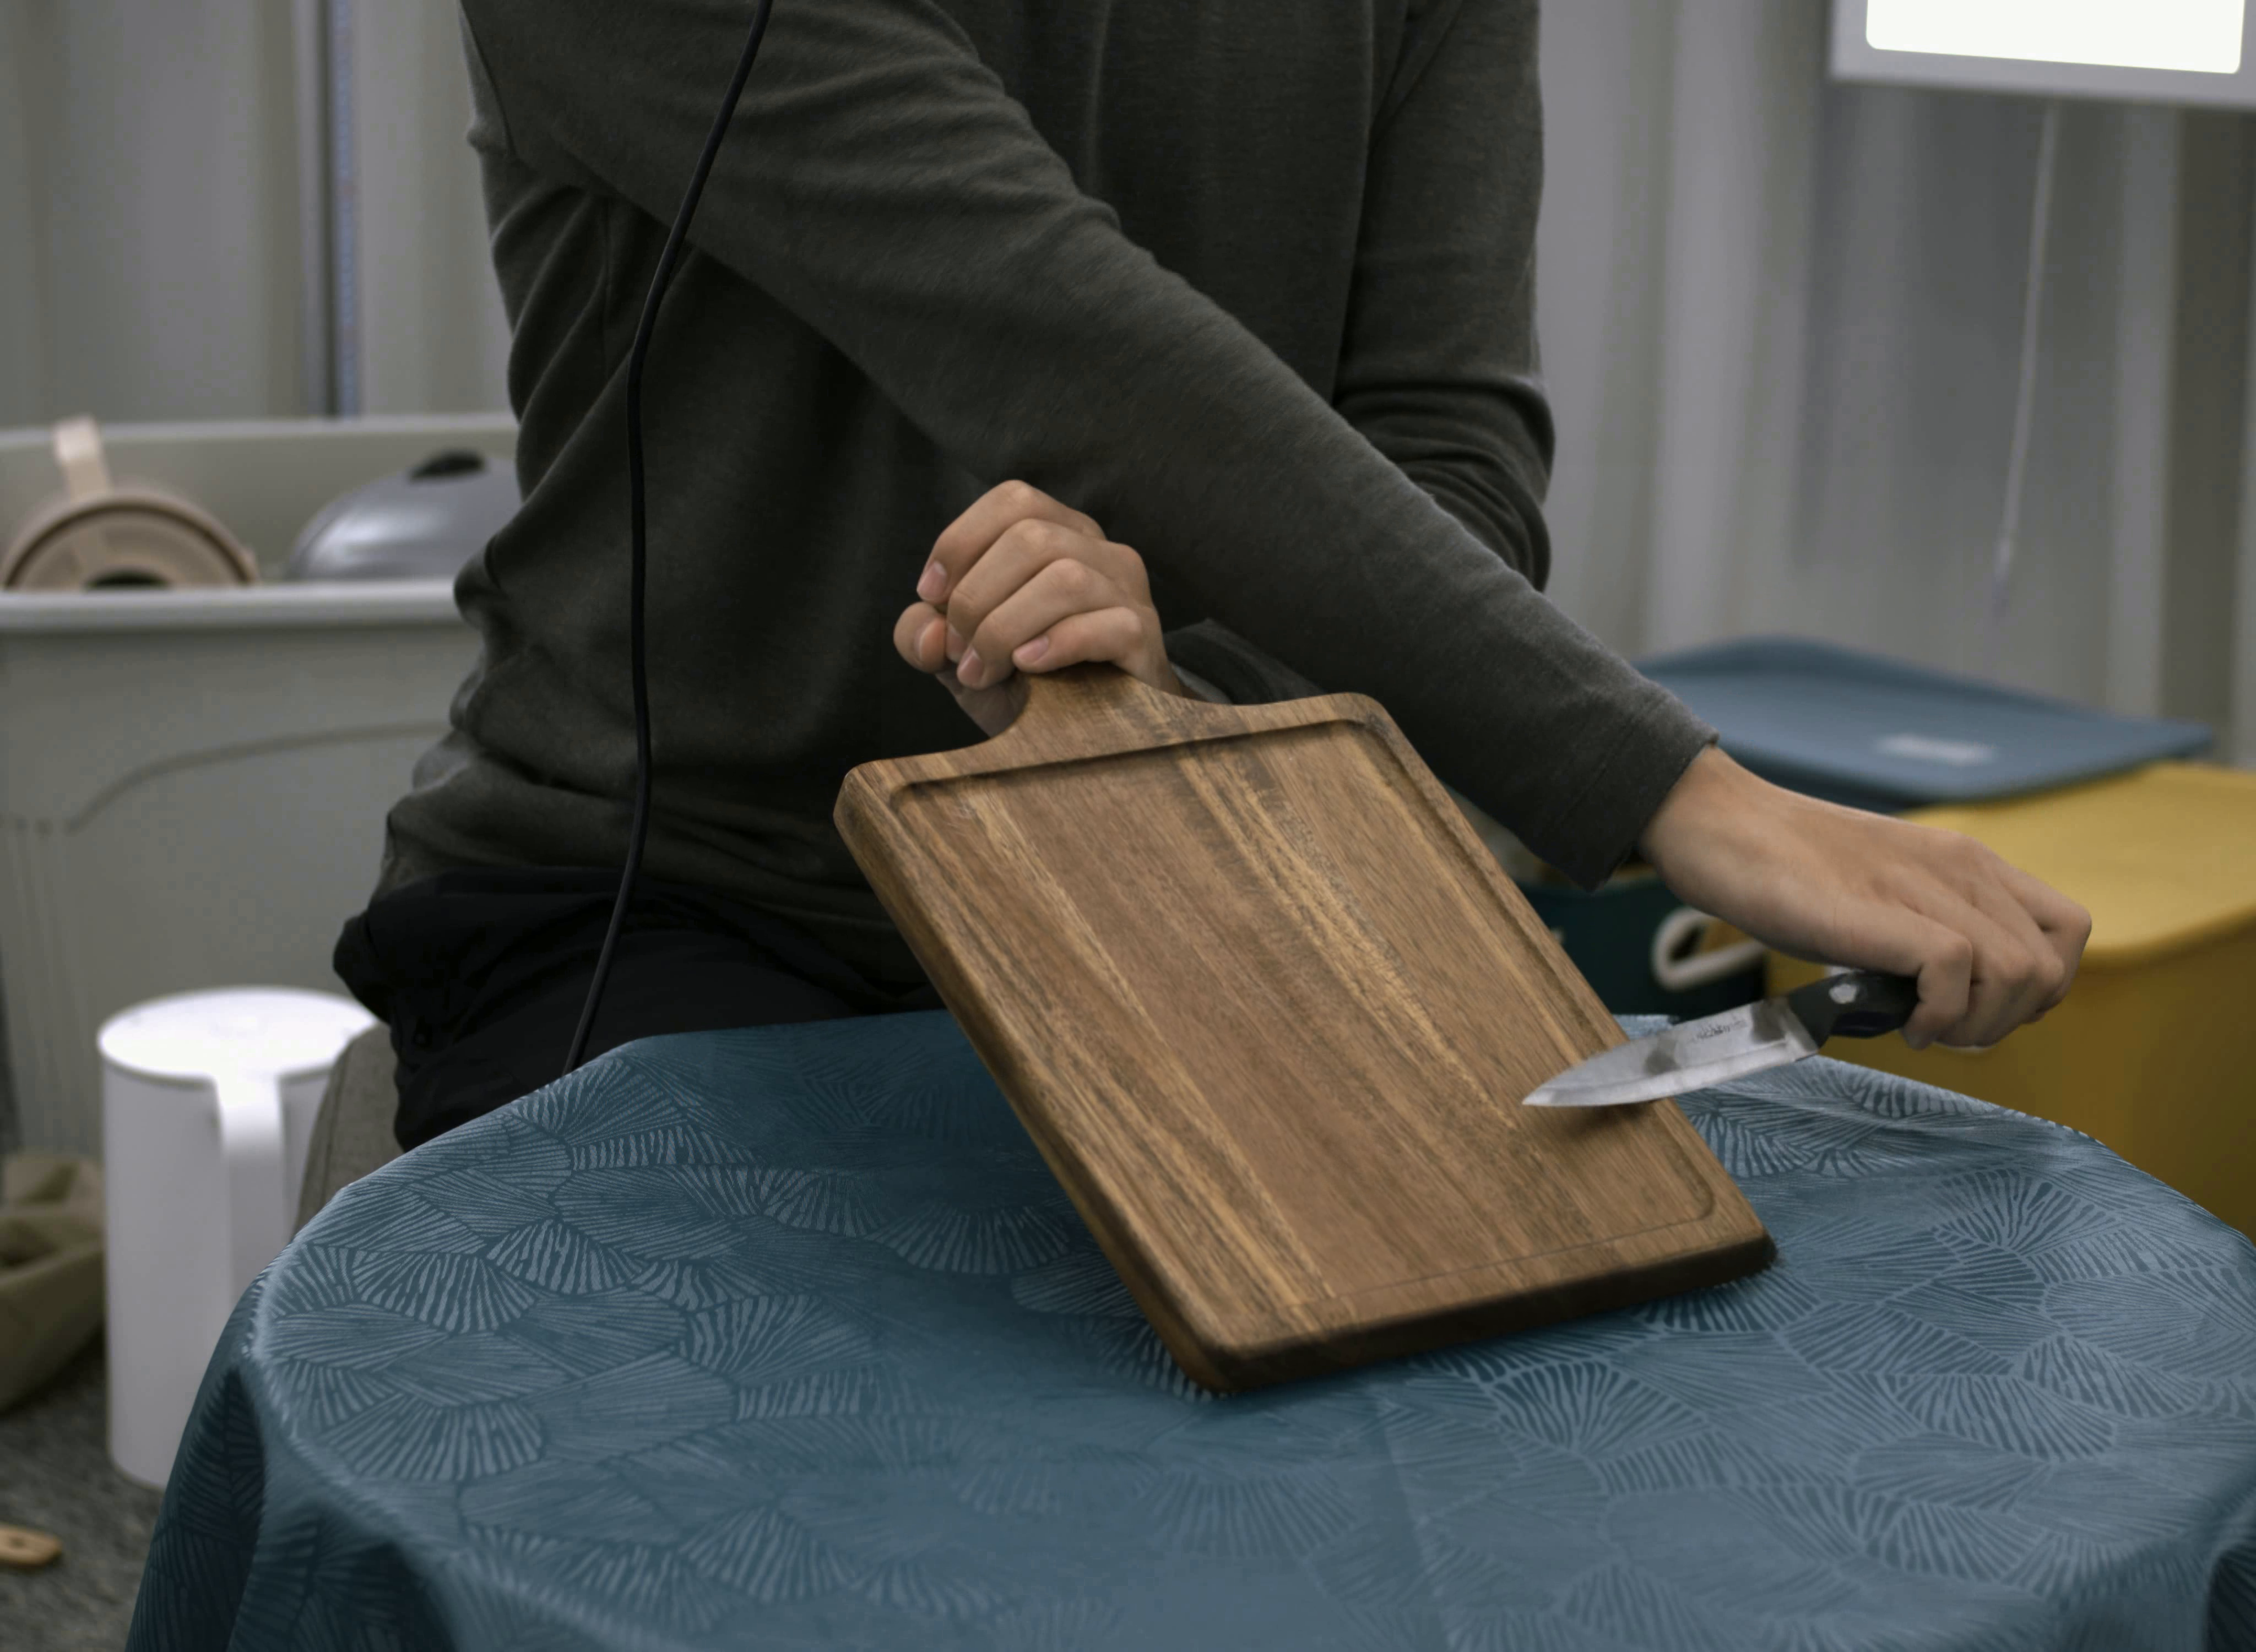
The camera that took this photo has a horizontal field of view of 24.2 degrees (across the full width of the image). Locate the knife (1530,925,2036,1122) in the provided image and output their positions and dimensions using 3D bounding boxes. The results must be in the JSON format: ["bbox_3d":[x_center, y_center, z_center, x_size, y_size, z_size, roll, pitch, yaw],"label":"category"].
[{"bbox_3d":[0.202,0.061,1.623,0.239,0.016,0.024,-15,61,-42],"label":"knife"}]

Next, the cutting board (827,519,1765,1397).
[{"bbox_3d":[0.026,0.024,1.600,0.202,0.023,0.348,-9,47,-31],"label":"cutting board"}]
